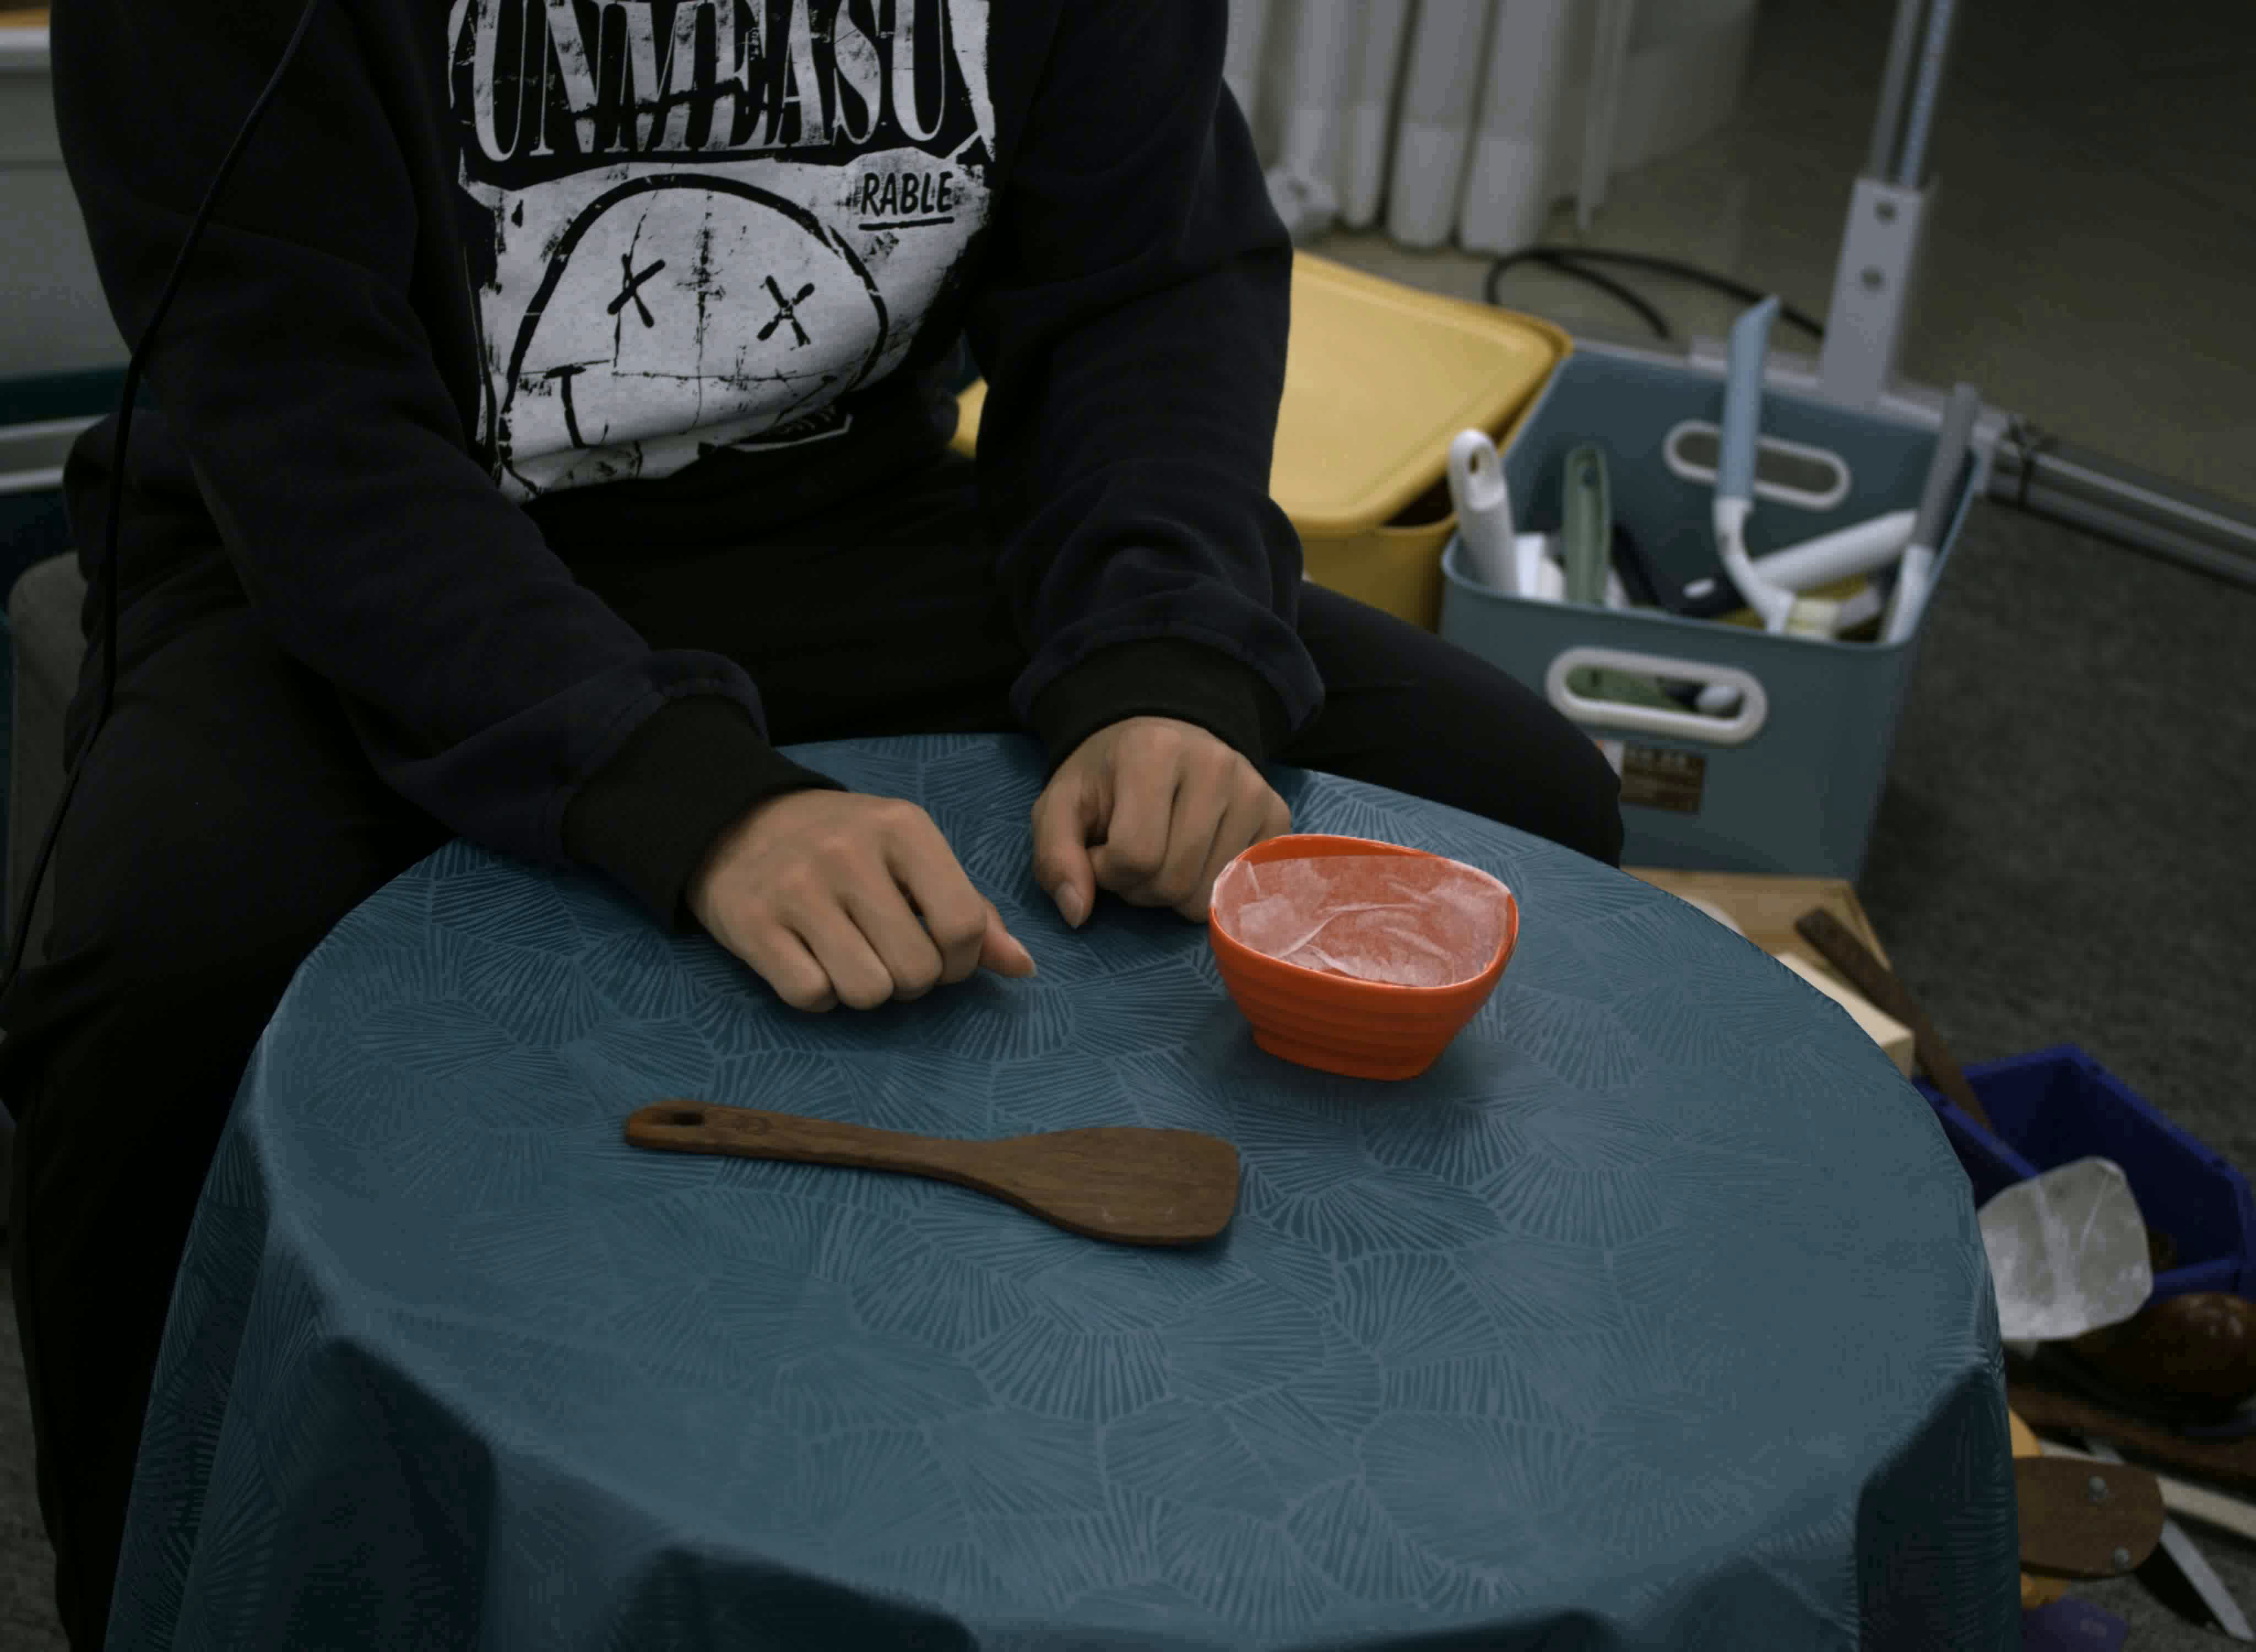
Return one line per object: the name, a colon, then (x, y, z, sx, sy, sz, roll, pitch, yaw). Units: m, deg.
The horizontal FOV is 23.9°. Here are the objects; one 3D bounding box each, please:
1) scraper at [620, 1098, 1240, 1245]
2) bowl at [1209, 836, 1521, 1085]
scraper: (-0.067, 0.112, 1.799, 0.211, 0.011, 0.076, 7, 25, 2)
bowl: (0.082, 0.052, 1.906, 0.118, 0.051, 0.119, 5, 28, -3)
